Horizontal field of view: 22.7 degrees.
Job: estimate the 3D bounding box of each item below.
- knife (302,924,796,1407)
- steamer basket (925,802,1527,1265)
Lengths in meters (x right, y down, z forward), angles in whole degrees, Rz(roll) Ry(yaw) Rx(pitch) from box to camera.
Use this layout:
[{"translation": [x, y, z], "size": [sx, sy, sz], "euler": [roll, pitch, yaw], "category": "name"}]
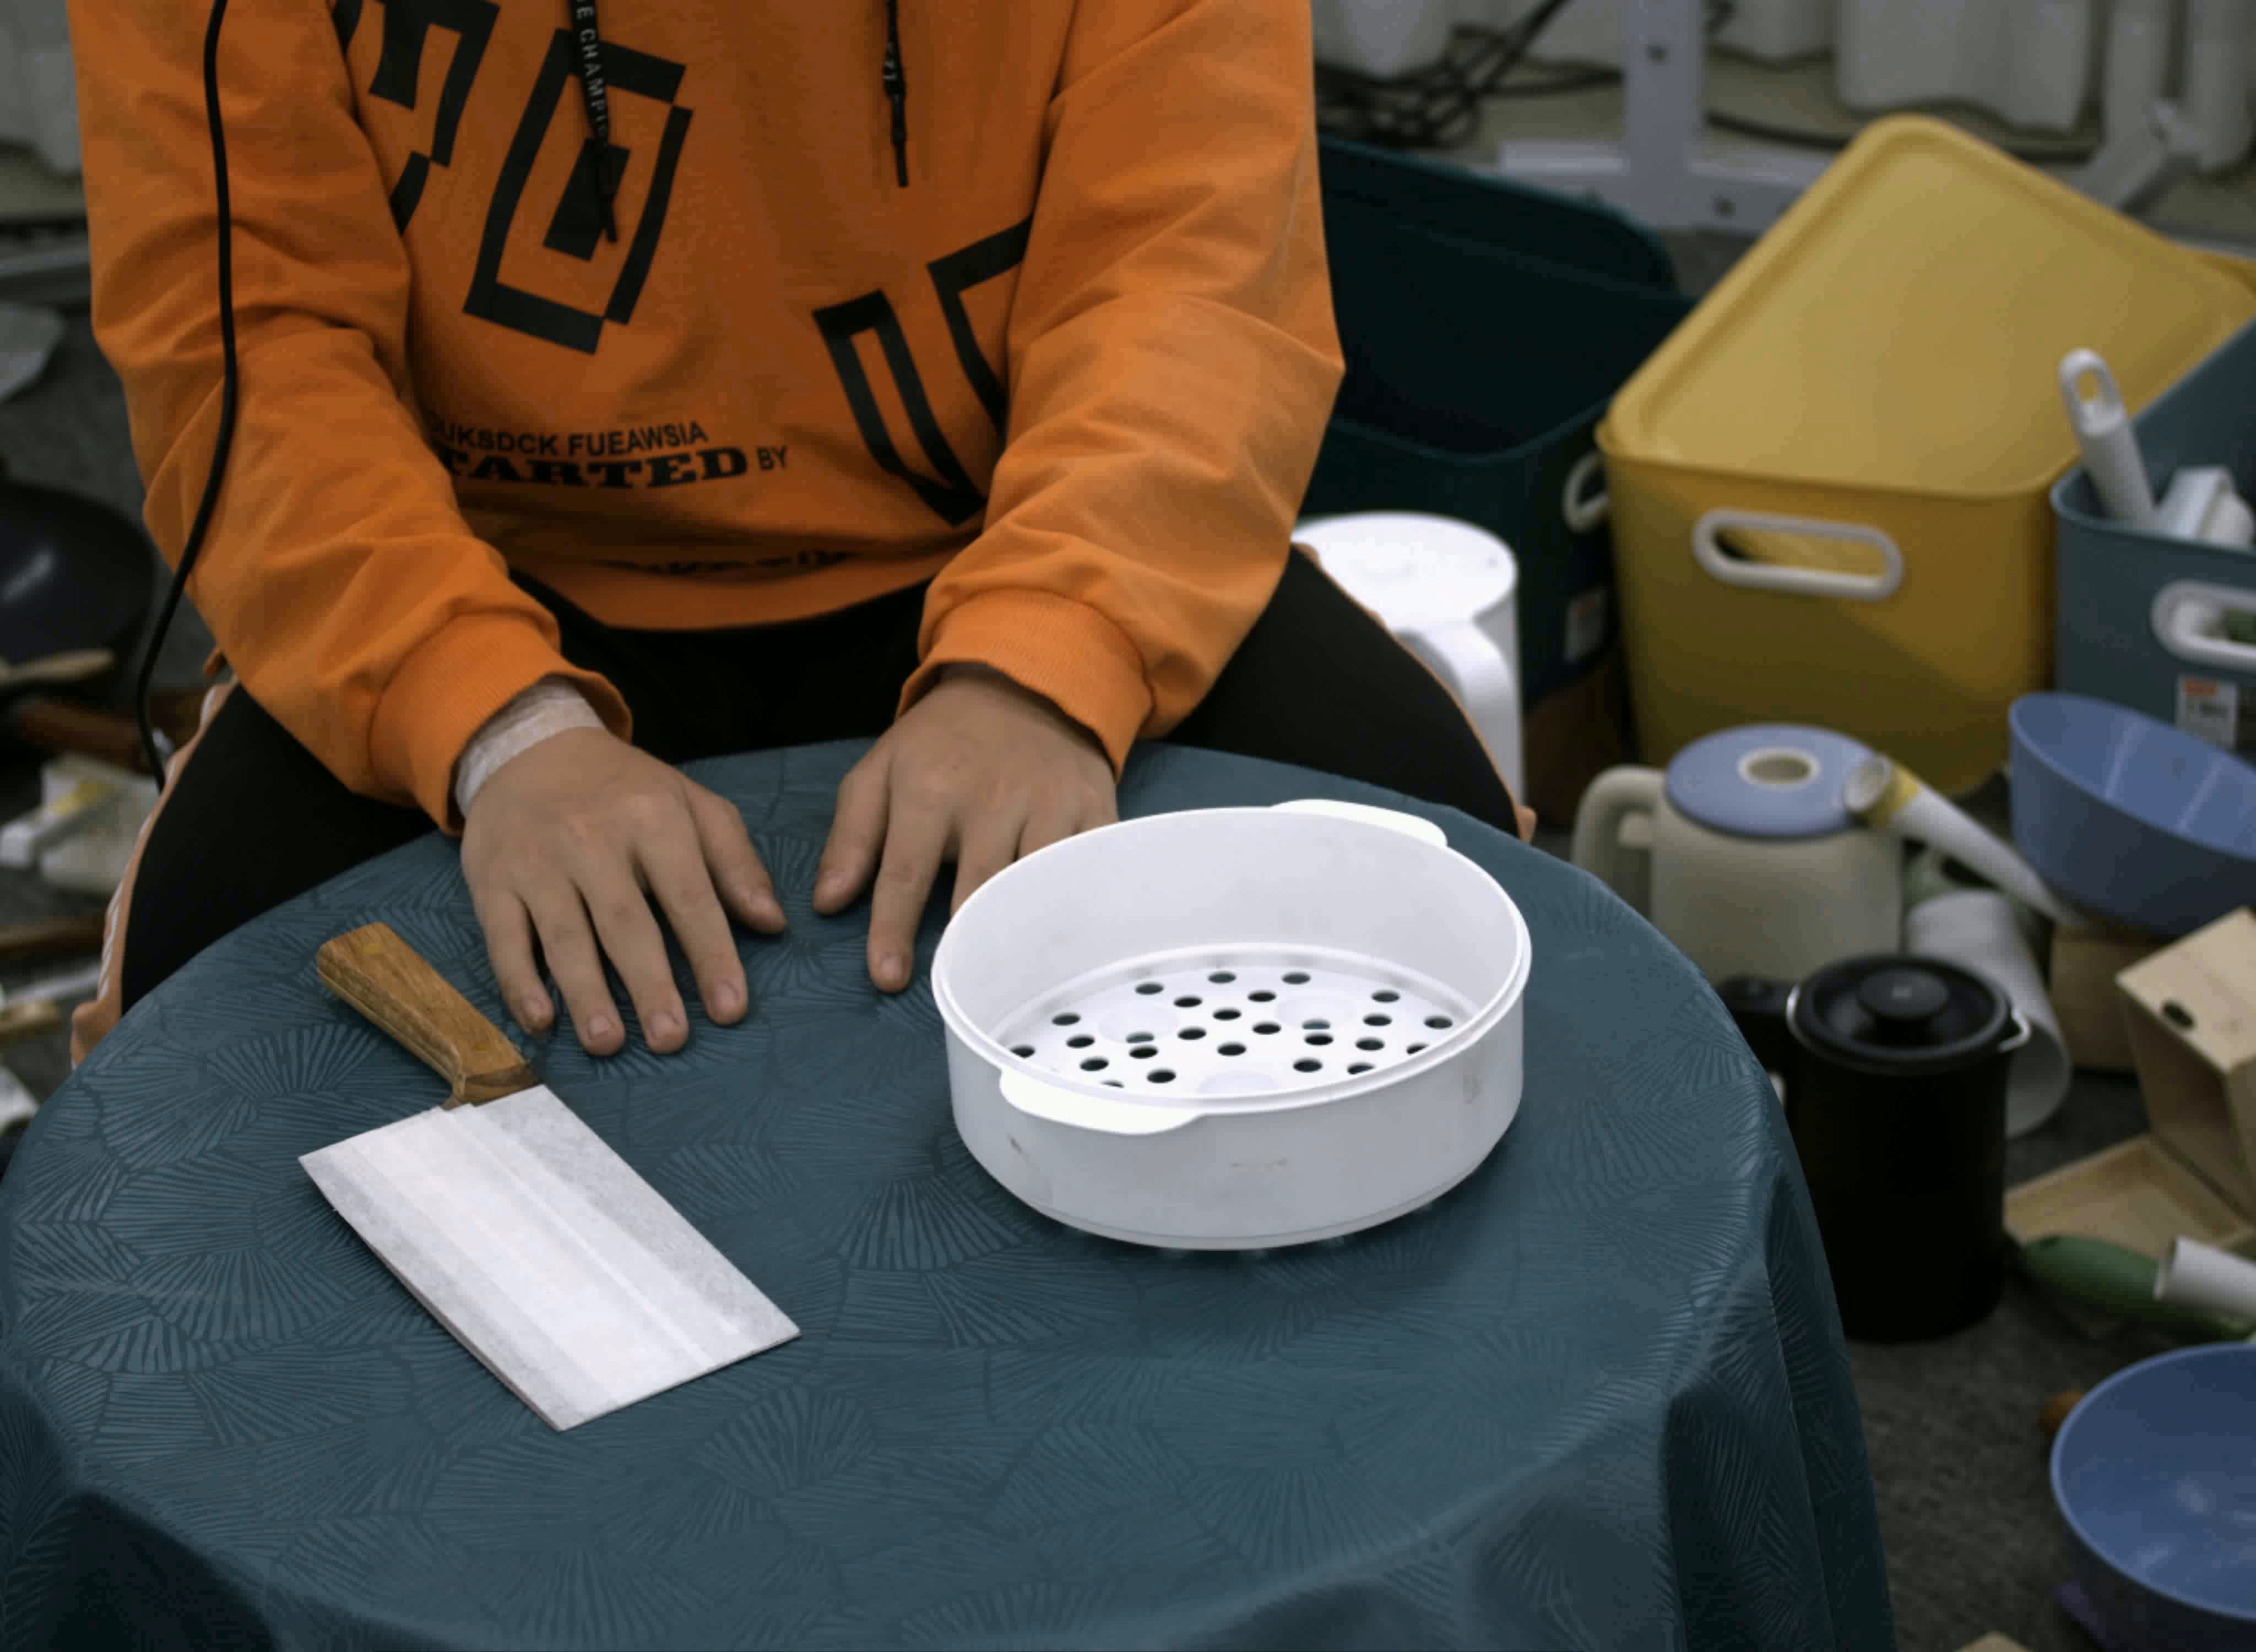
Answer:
[{"translation": [-0.221, 0.114, 1.883], "size": [0.093, 0.021, 0.307], "euler": [-20, 34, -27], "category": "knife"}, {"translation": [0.034, 0.071, 1.883], "size": [0.200, 0.068, 0.234], "euler": [10, 32, 25], "category": "steamer basket"}]
